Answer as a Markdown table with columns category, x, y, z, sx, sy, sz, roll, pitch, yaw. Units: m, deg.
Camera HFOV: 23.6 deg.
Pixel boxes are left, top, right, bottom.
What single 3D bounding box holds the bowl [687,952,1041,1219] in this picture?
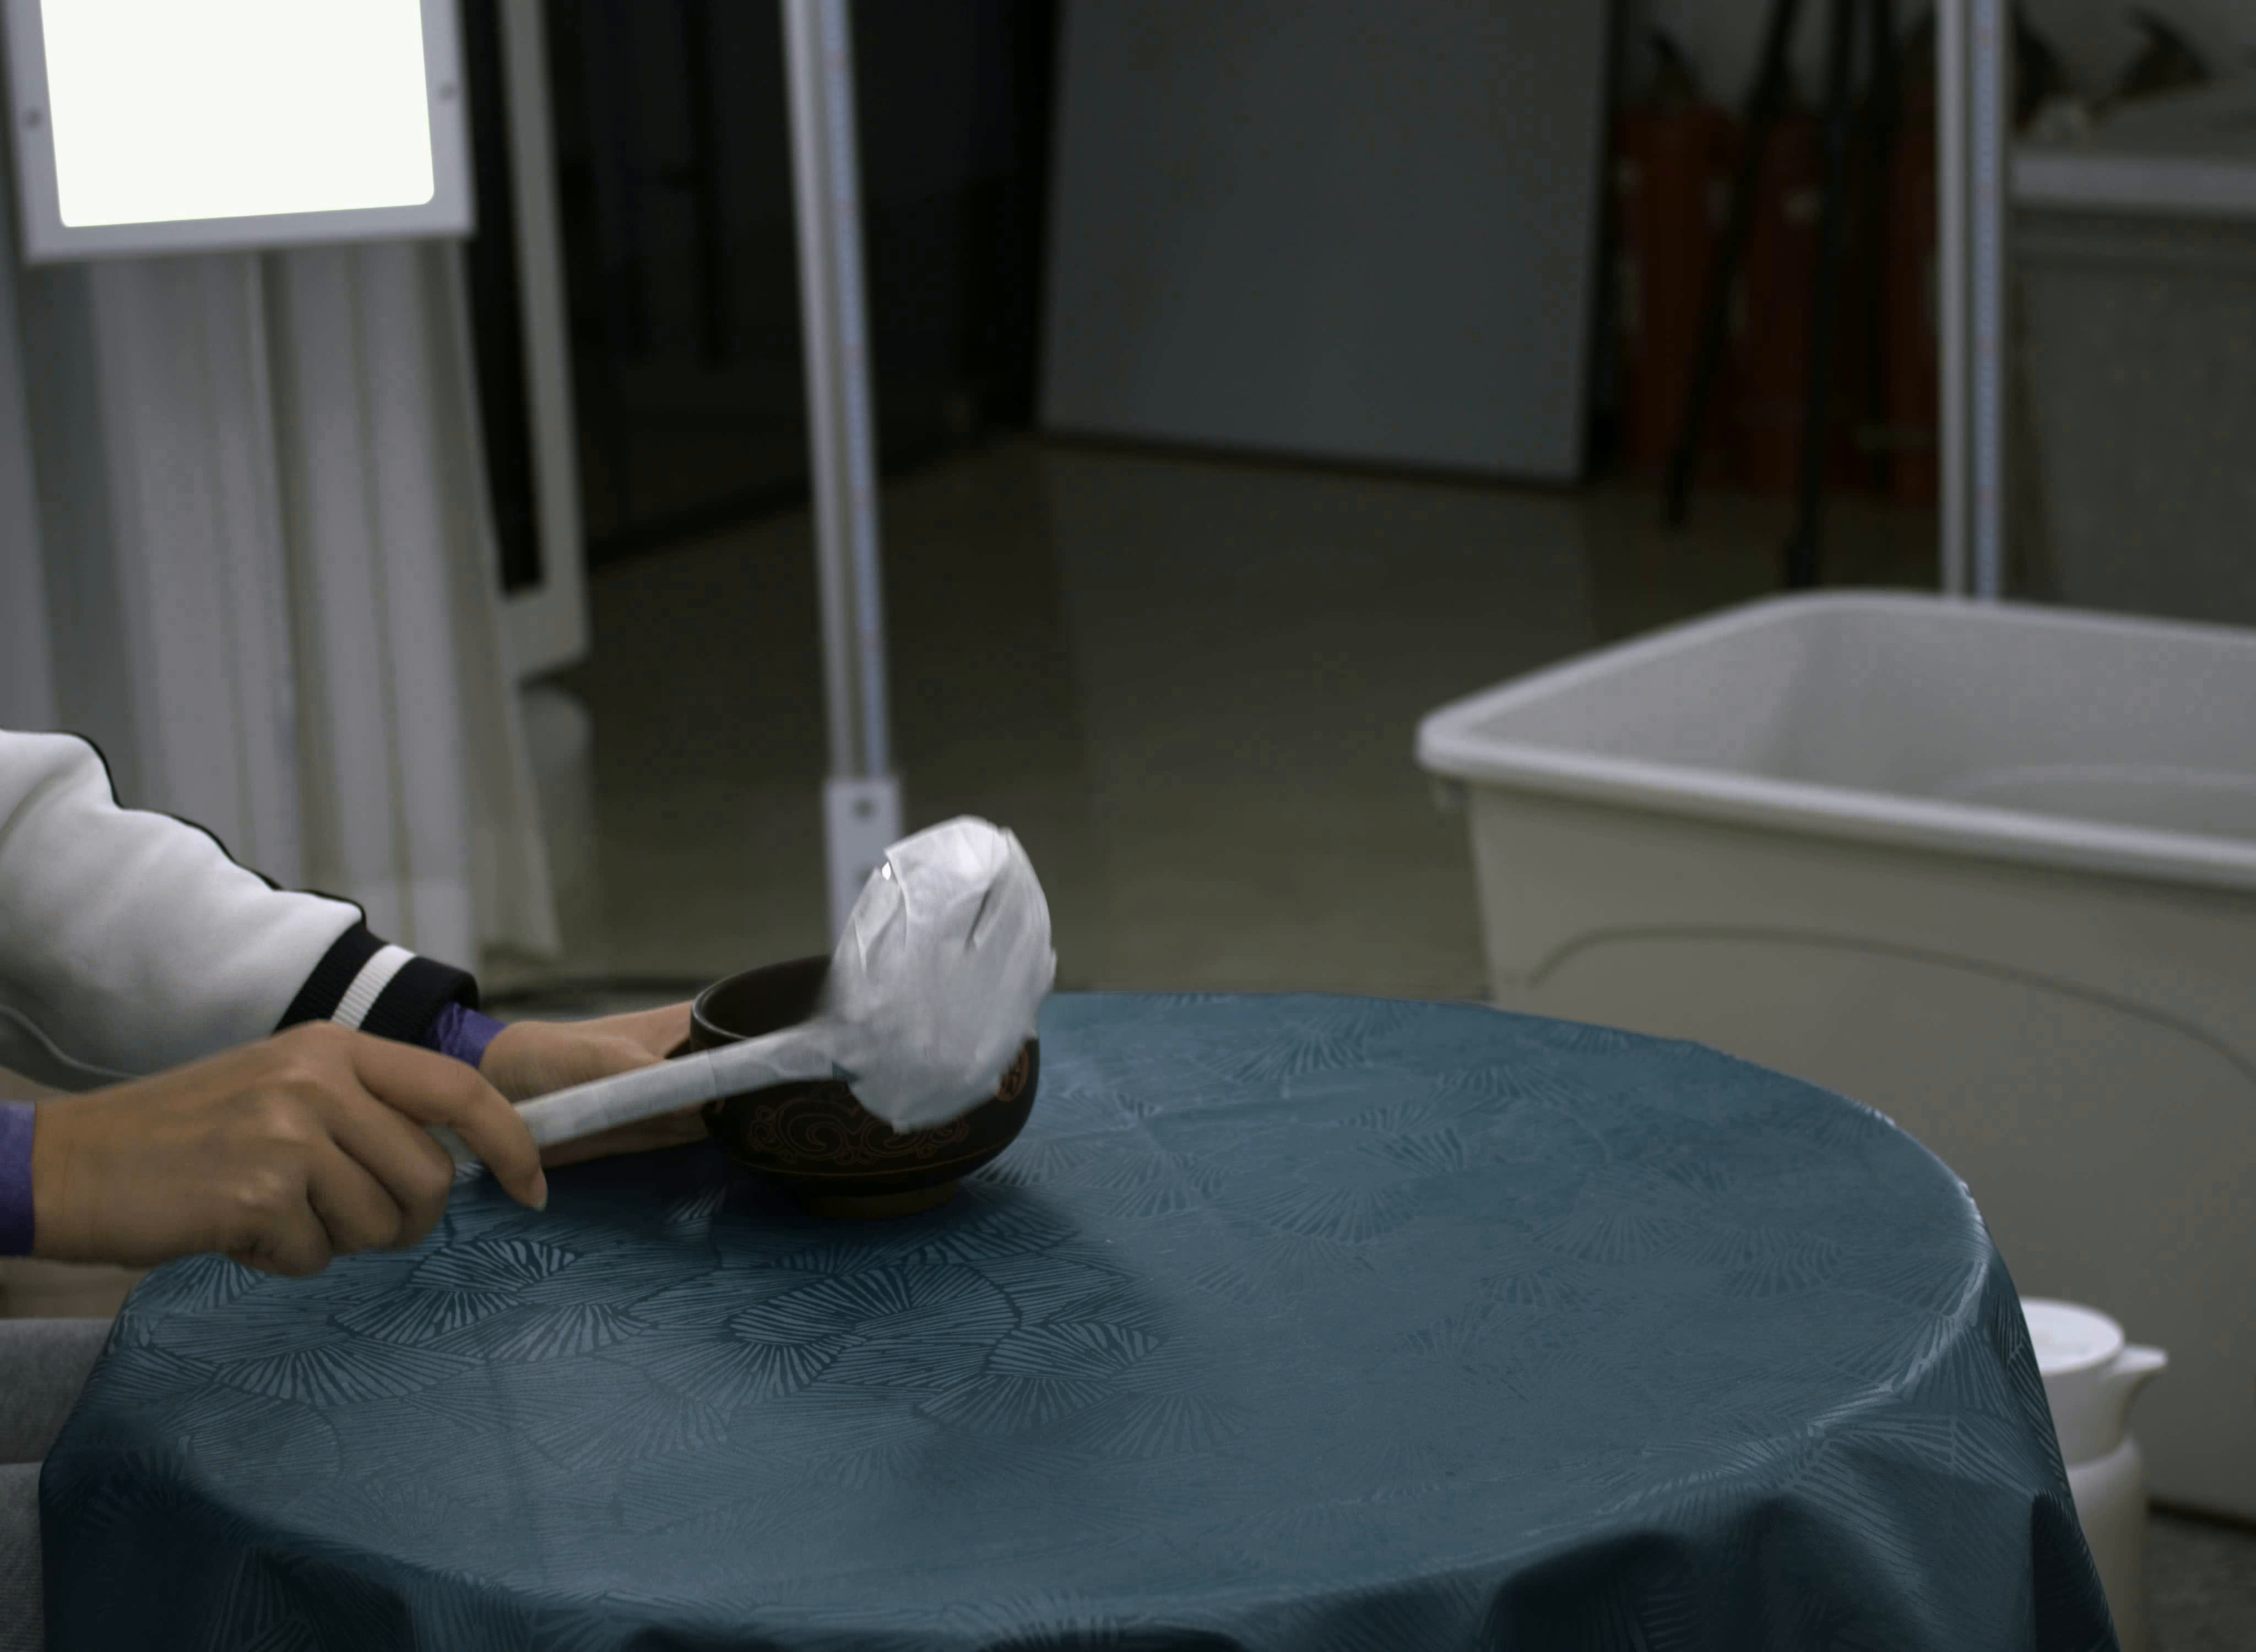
| category | x | y | z | sx | sy | sz | roll | pitch | yaw |
| --- | --- | --- | --- | --- | --- | --- | --- | --- | --- |
| bowl | -0.085 | 0.088 | 1.777 | 0.116 | 0.070 | 0.118 | -4 | 13 | 0 |

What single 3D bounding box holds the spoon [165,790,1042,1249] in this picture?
| category | x | y | z | sx | sy | sz | roll | pitch | yaw |
| --- | --- | --- | --- | --- | --- | --- | --- | --- | --- |
| spoon | -0.150 | 0.069 | 1.591 | 0.274 | 0.101 | 0.060 | -18 | 25 | -5 |
